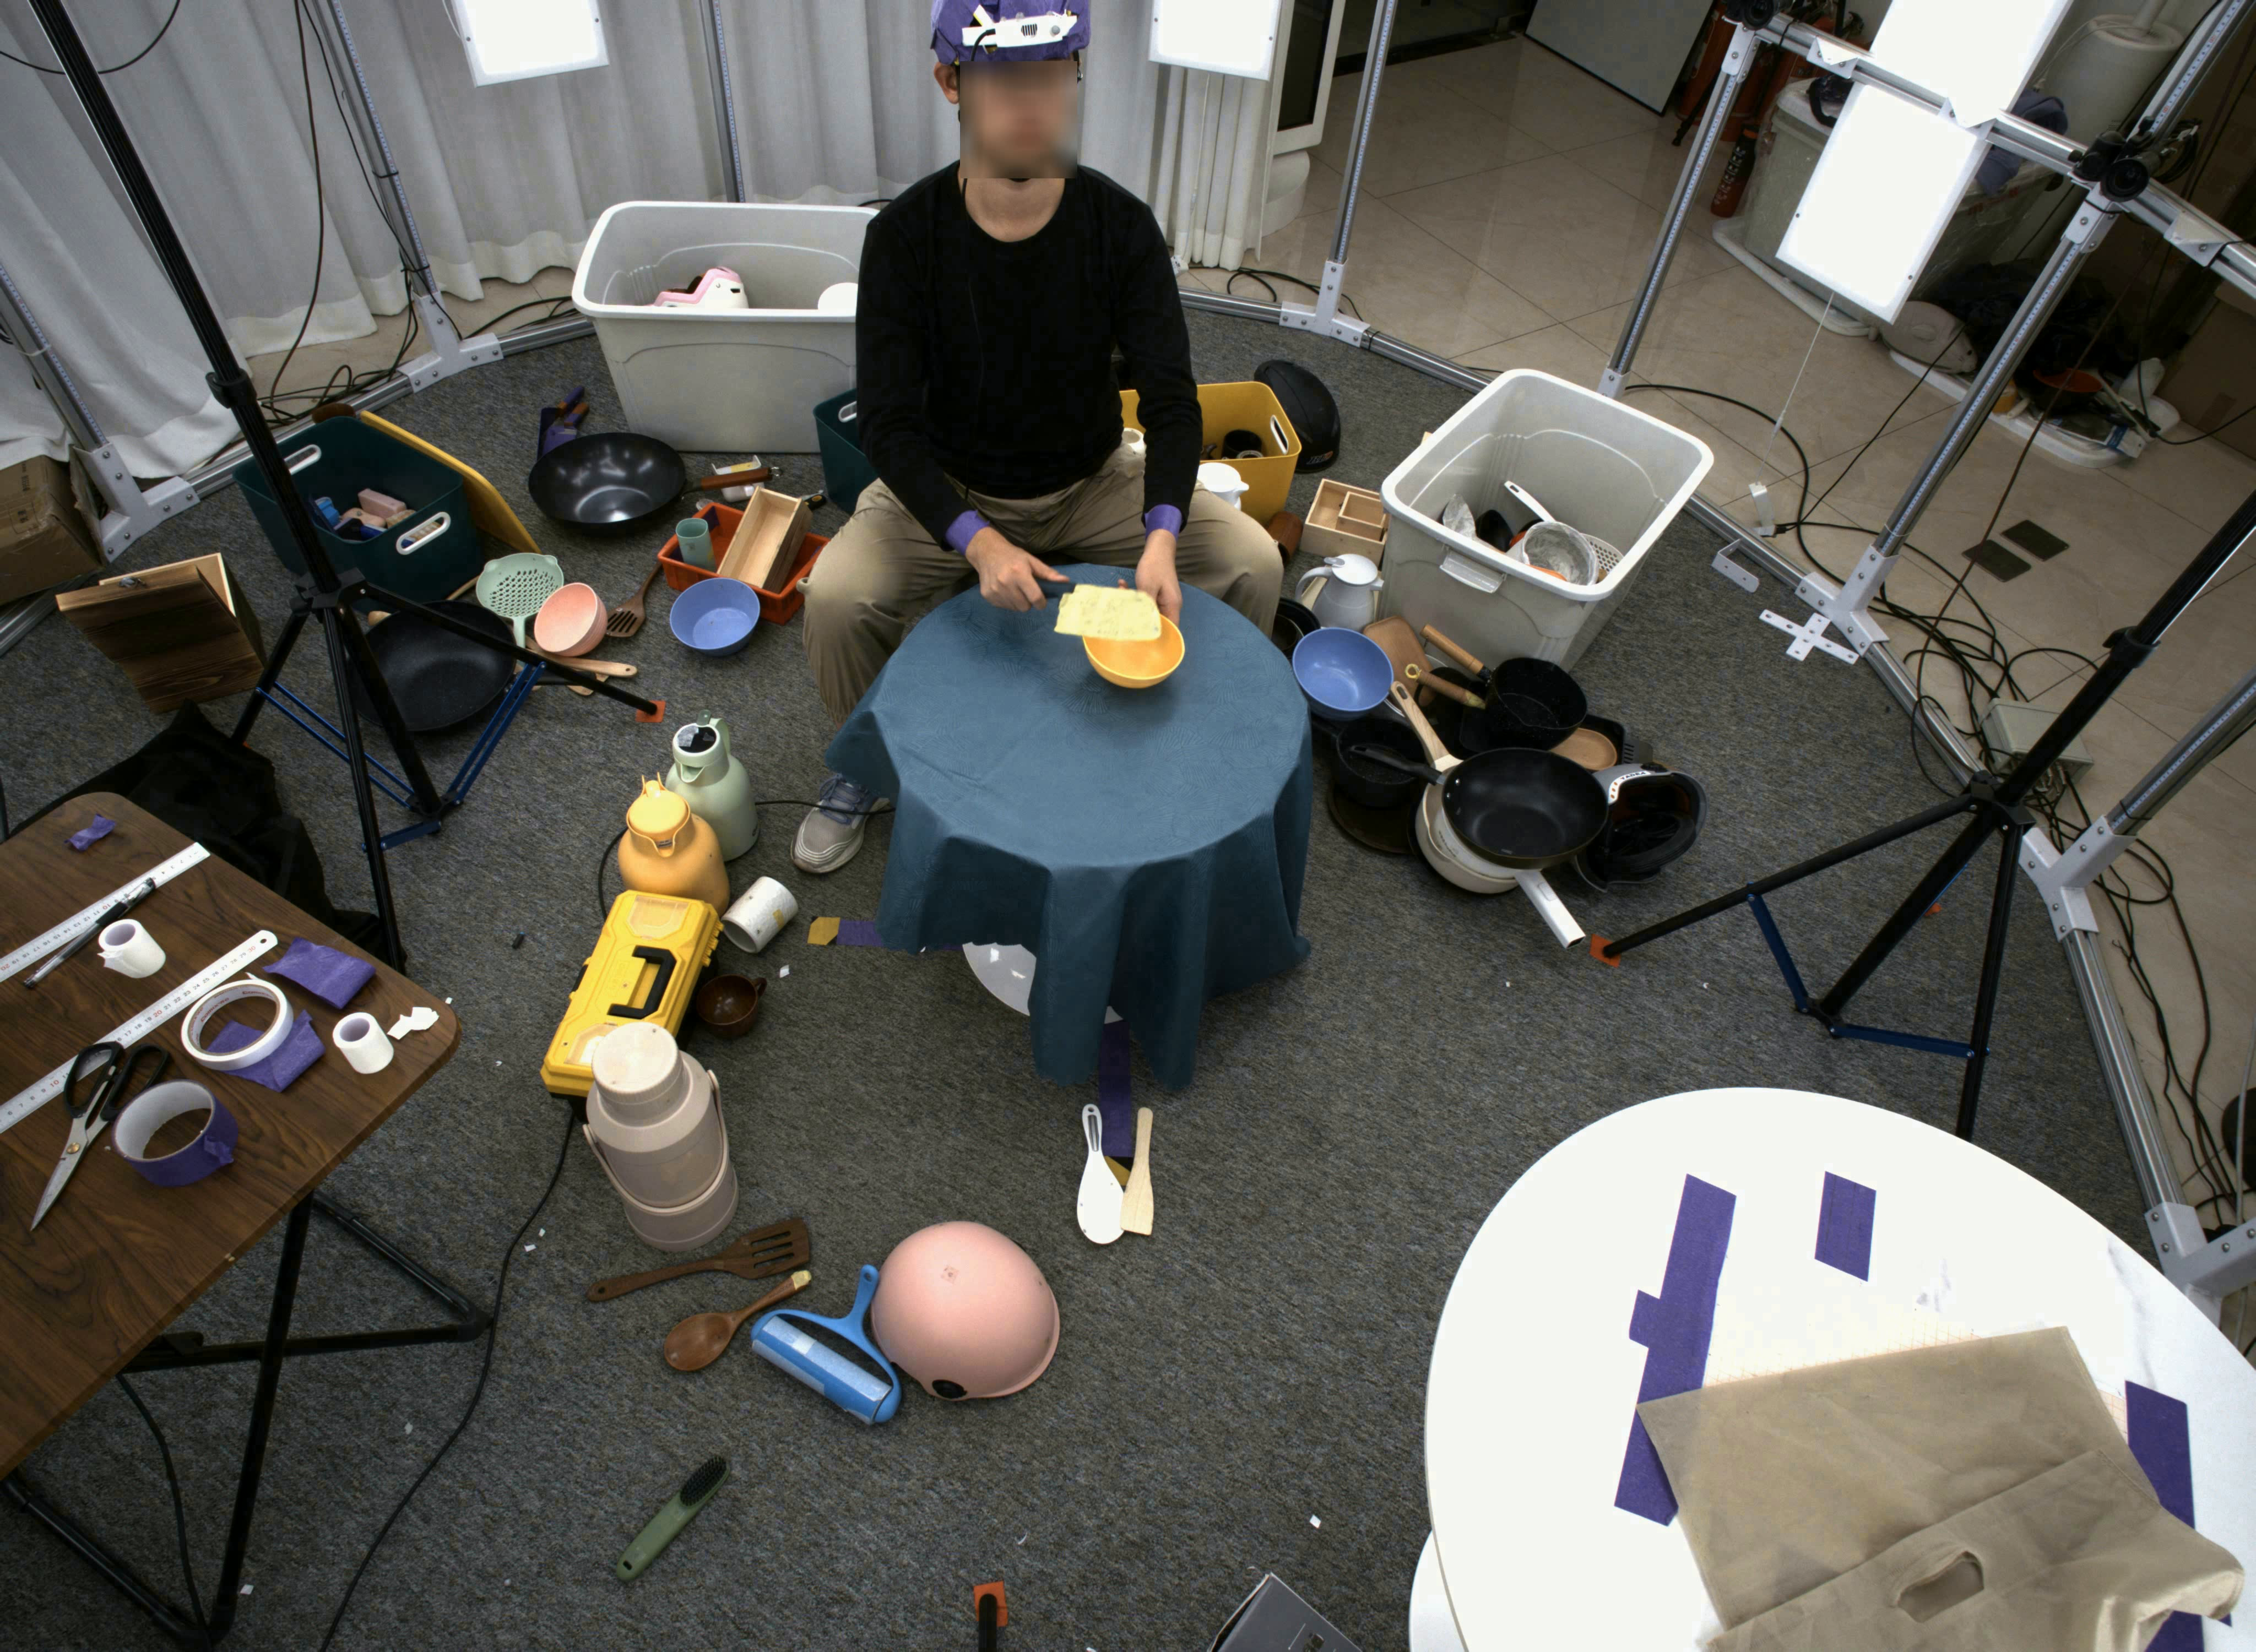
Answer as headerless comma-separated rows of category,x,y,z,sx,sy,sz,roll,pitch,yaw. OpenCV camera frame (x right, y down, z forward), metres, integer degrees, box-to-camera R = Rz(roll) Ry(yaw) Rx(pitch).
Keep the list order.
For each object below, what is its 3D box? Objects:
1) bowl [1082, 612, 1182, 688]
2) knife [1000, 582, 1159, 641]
bowl,0.001,-0.245,1.827,0.145,0.059,0.149,6,51,-8
knife,-0.073,-0.303,1.805,0.292,0.027,0.081,17,81,35
